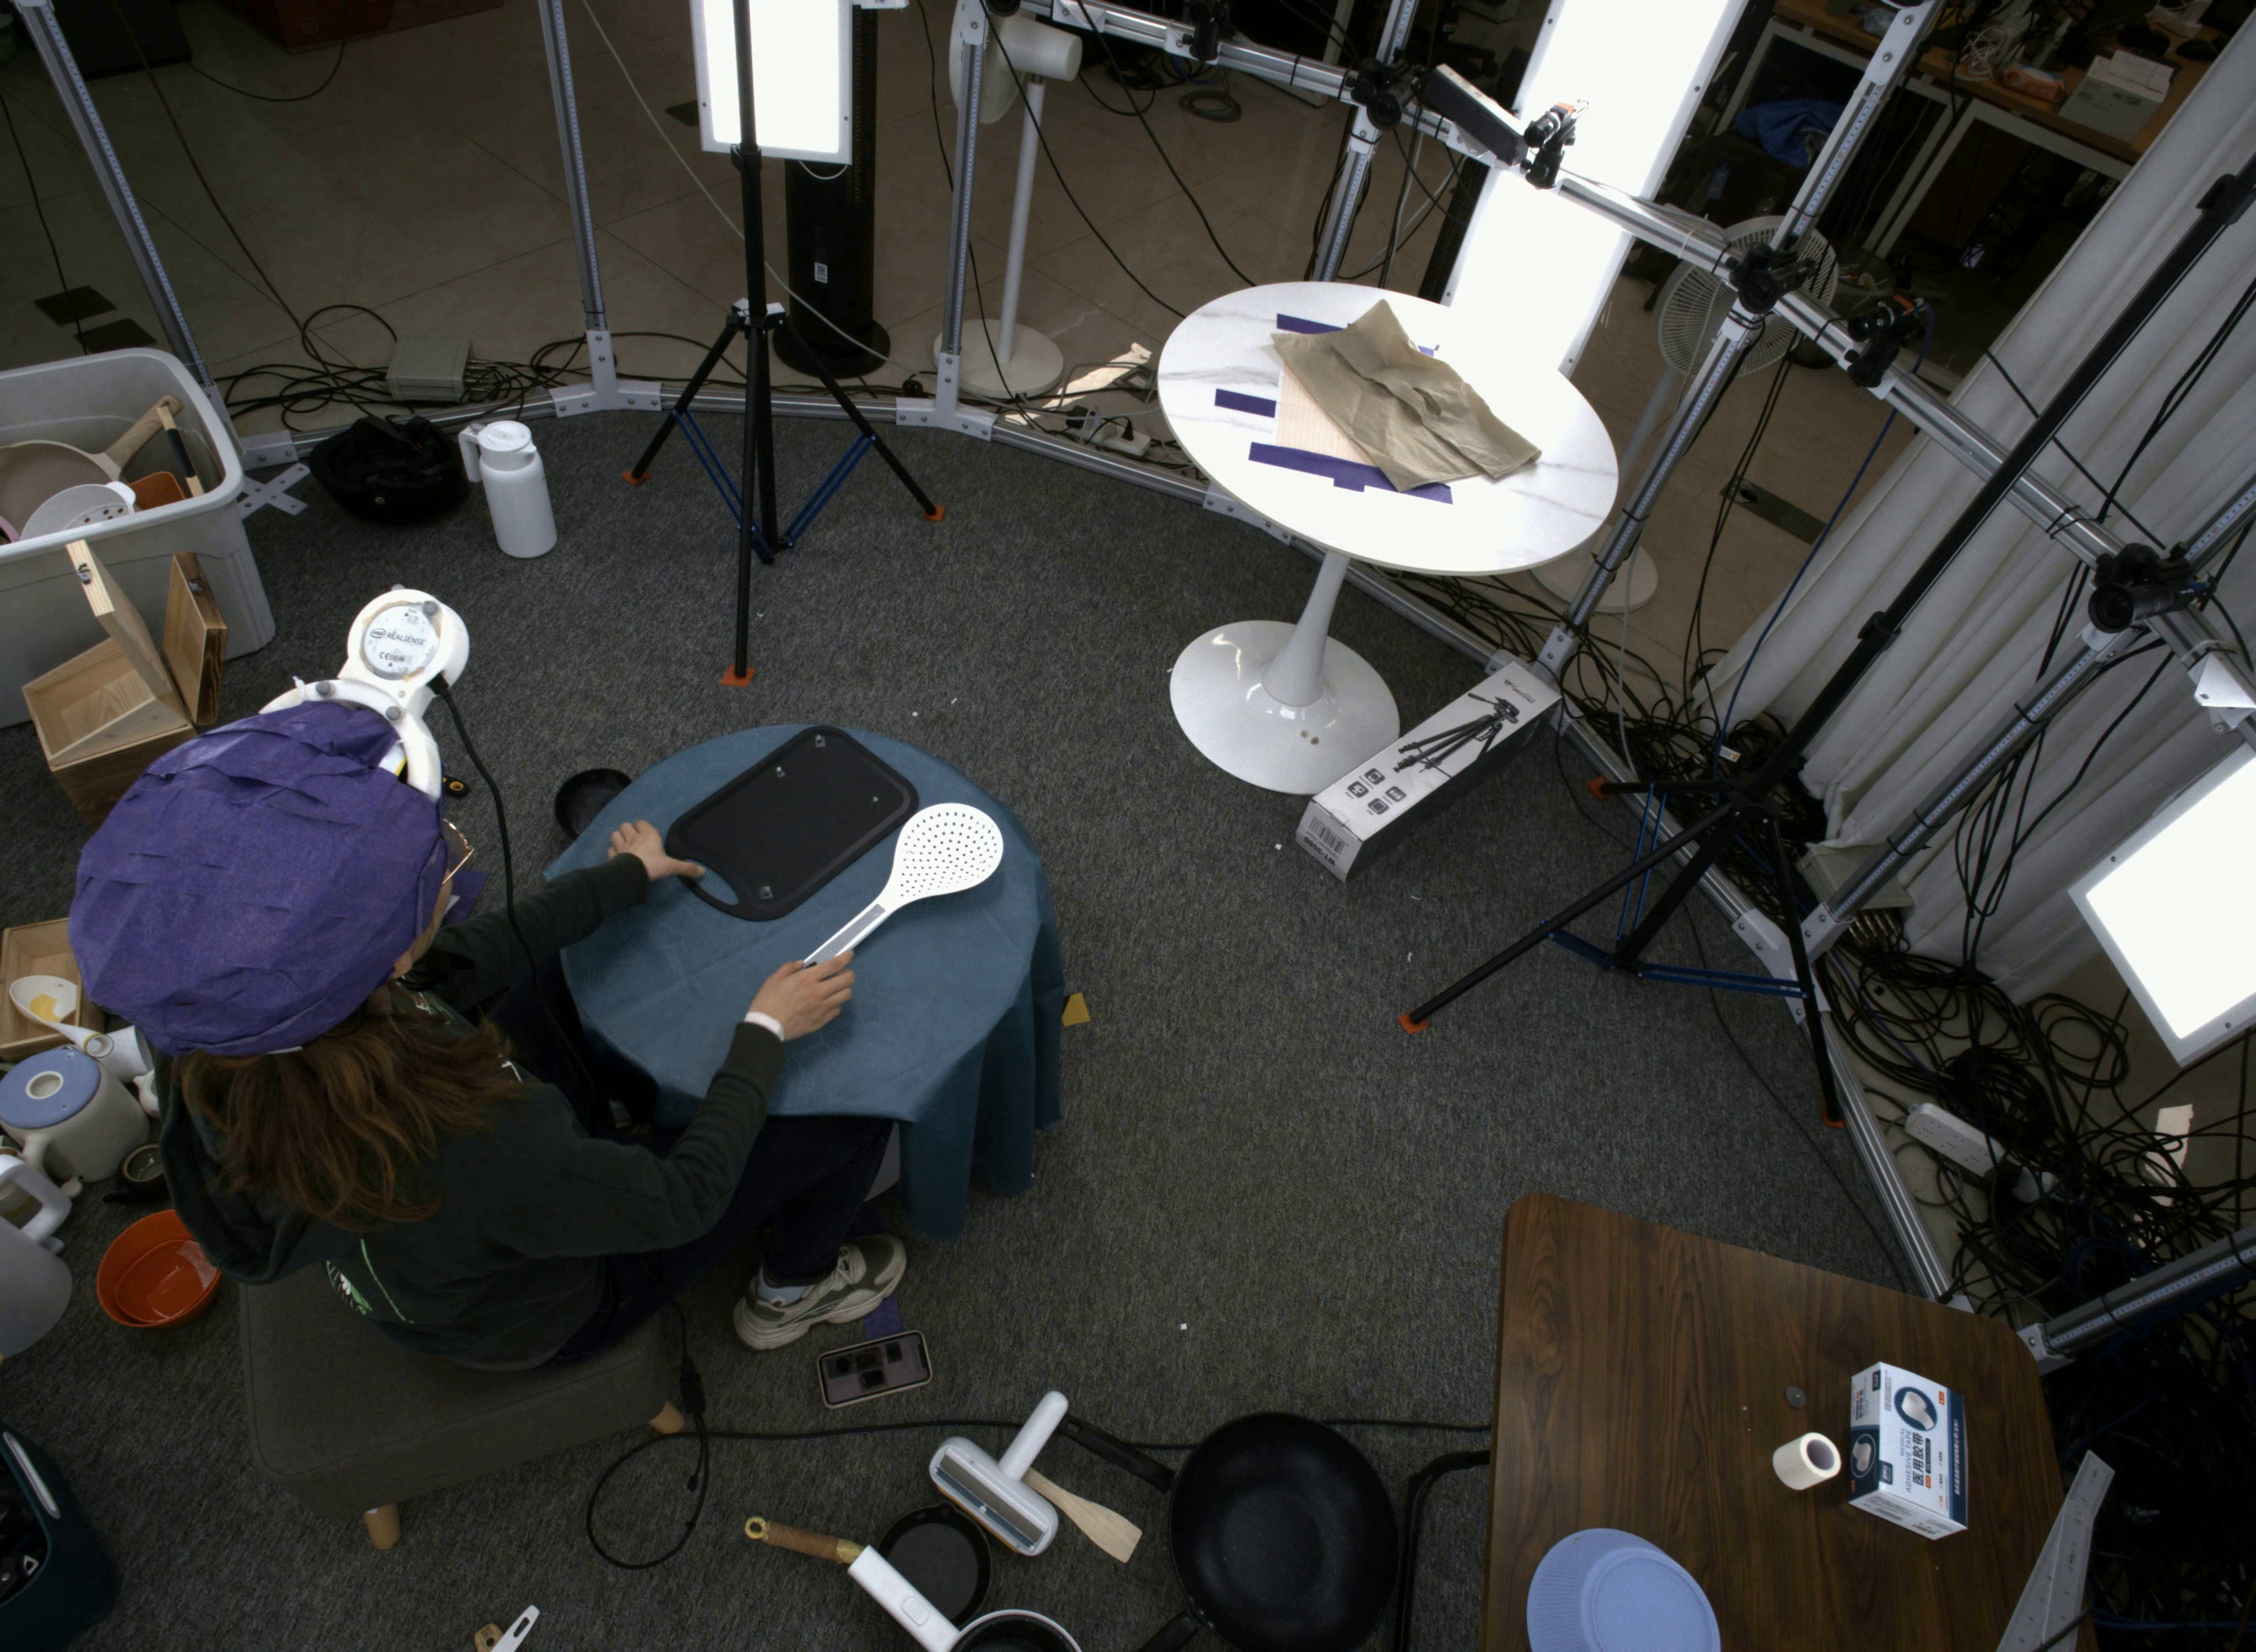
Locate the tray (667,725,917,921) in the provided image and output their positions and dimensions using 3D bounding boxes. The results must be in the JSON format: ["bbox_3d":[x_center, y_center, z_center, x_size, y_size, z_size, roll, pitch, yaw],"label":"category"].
[{"bbox_3d":[-0.449,-0.008,1.725,0.207,0.010,0.325,37,54,14],"label":"tray"}]

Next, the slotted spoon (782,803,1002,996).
[{"bbox_3d":[-0.302,0.093,1.662,0.133,0.047,0.350,37,55,17],"label":"slotted spoon"}]
